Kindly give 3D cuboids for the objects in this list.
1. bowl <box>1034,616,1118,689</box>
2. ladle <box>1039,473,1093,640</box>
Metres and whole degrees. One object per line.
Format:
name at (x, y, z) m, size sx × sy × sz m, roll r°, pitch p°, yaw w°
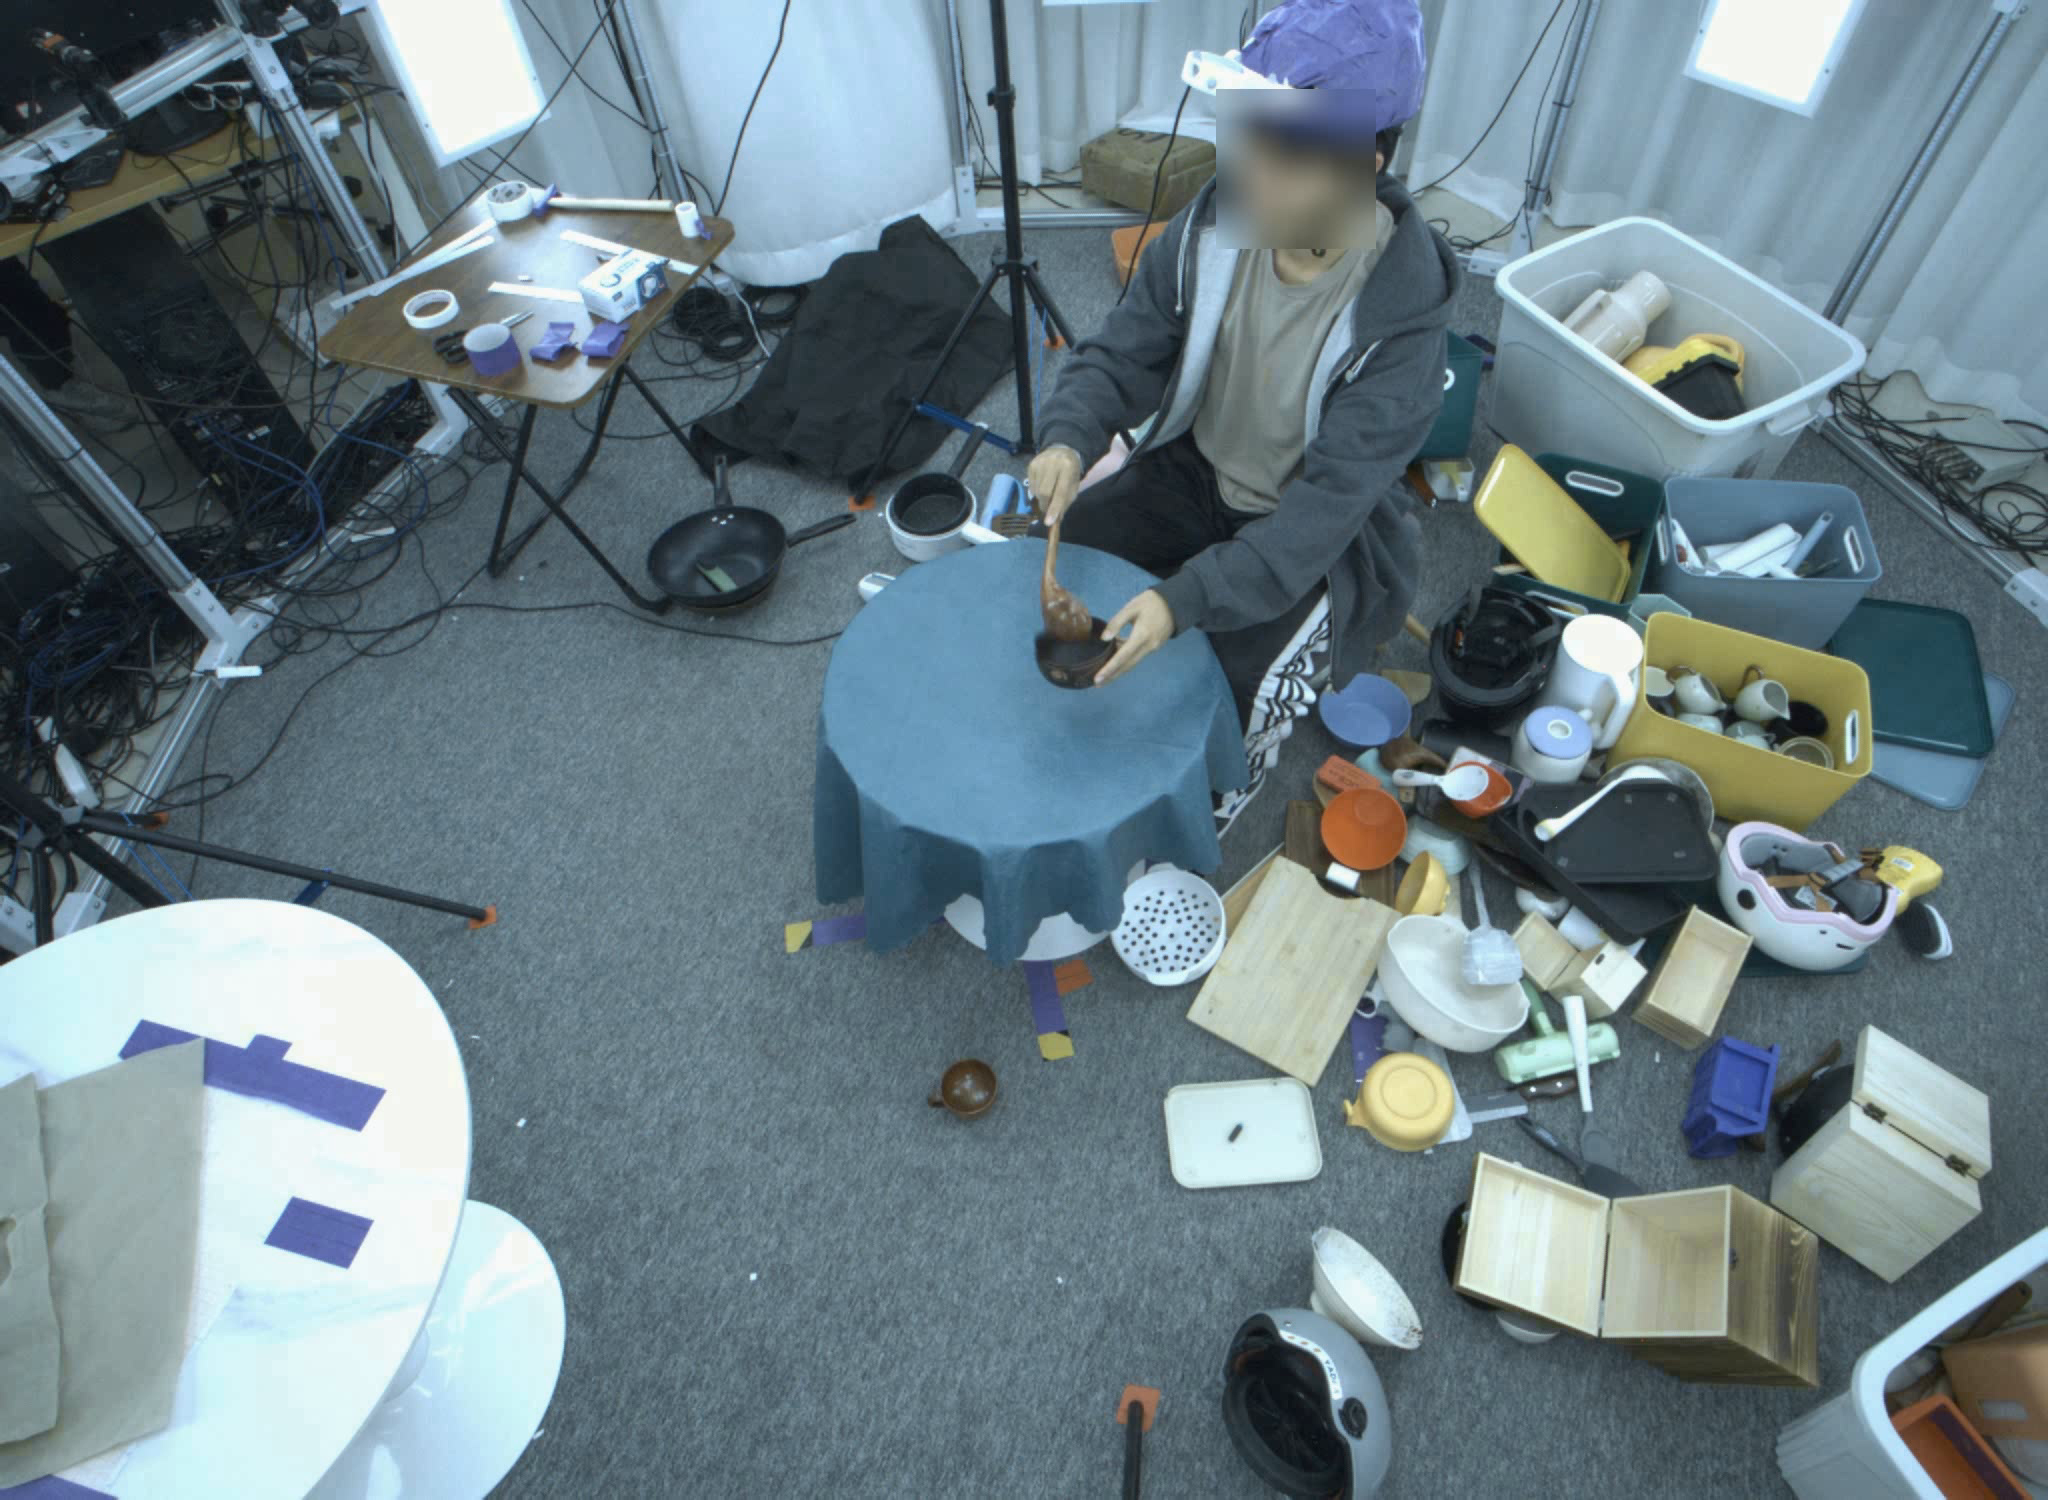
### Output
bowl at (0.076, -0.130, 1.740) m, size 0.117 × 0.071 × 0.117 m, roll -6°, pitch 42°, yaw 6°
ladle at (0.061, -0.281, 1.749) m, size 0.078 × 0.081 × 0.271 m, roll 16°, pitch 58°, yaw -22°
